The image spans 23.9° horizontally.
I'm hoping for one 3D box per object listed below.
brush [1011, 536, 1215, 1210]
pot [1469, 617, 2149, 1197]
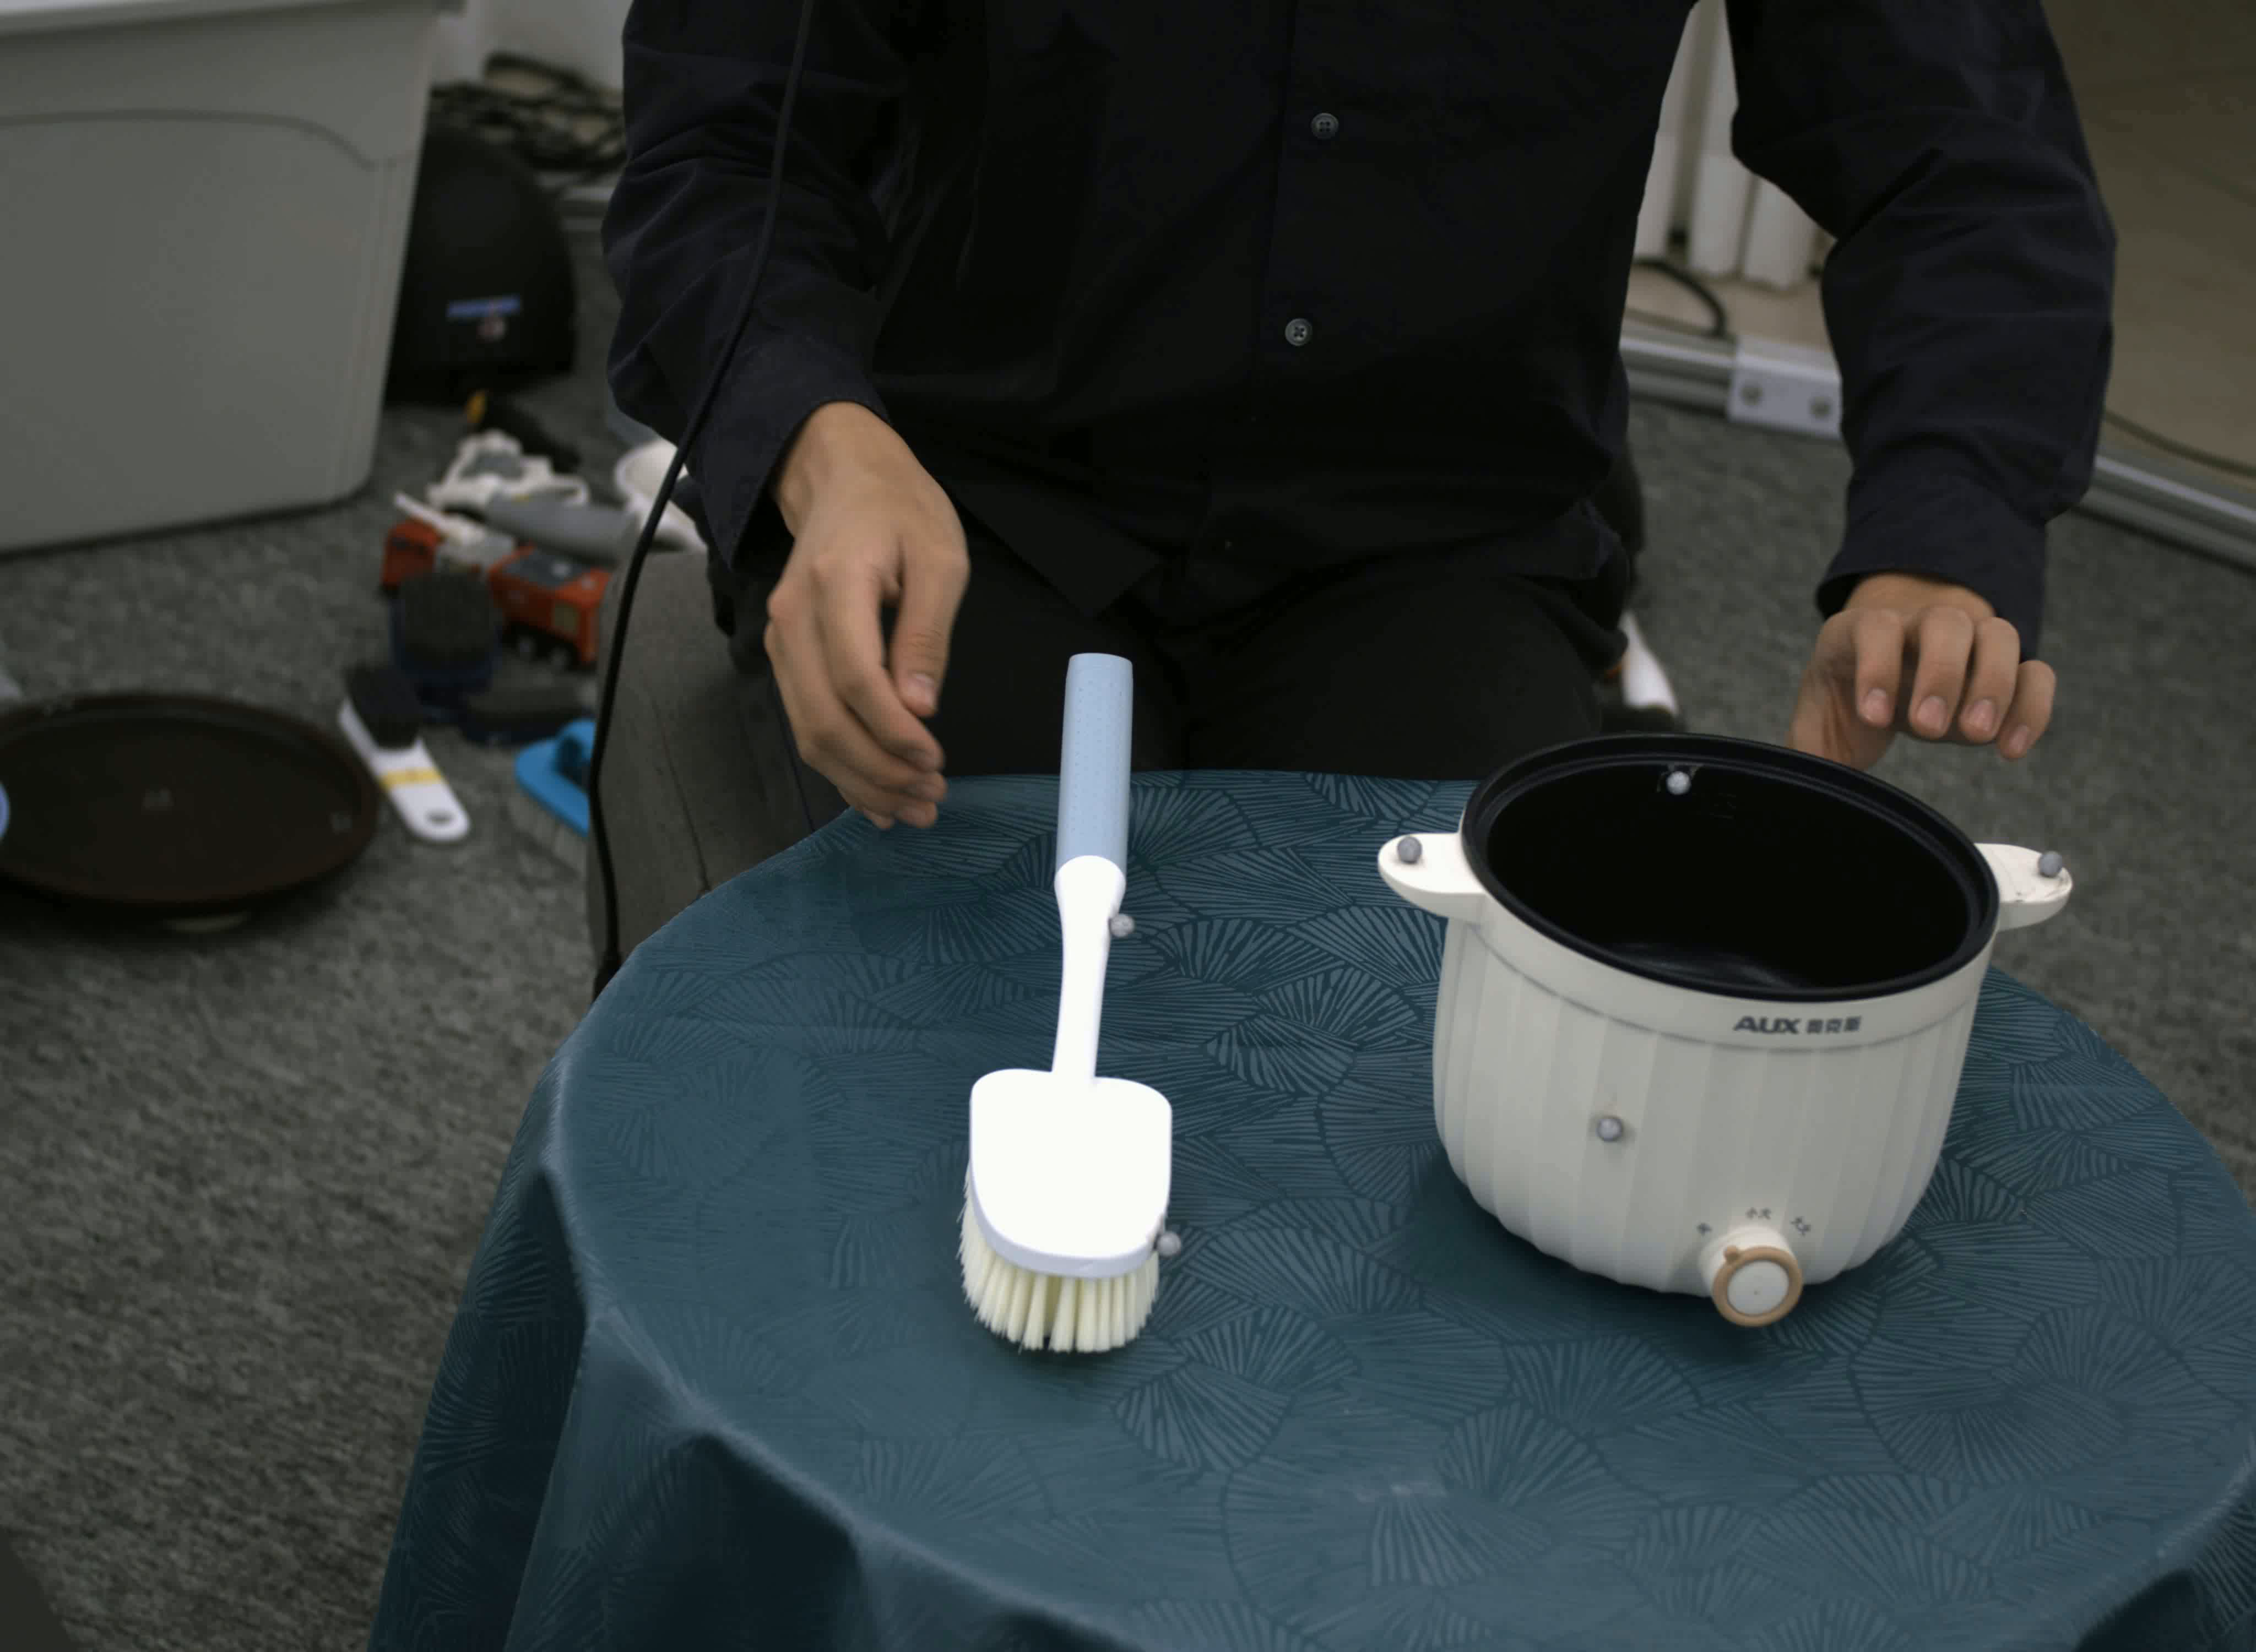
[{"bbox_3d":[0.002,0.025,1.847,0.082,0.084,0.328,35,32,-23],"label":"brush"},{"bbox_3d":[0.226,0.030,1.815,0.239,0.142,0.192,-1,25,-11],"label":"pot"}]
